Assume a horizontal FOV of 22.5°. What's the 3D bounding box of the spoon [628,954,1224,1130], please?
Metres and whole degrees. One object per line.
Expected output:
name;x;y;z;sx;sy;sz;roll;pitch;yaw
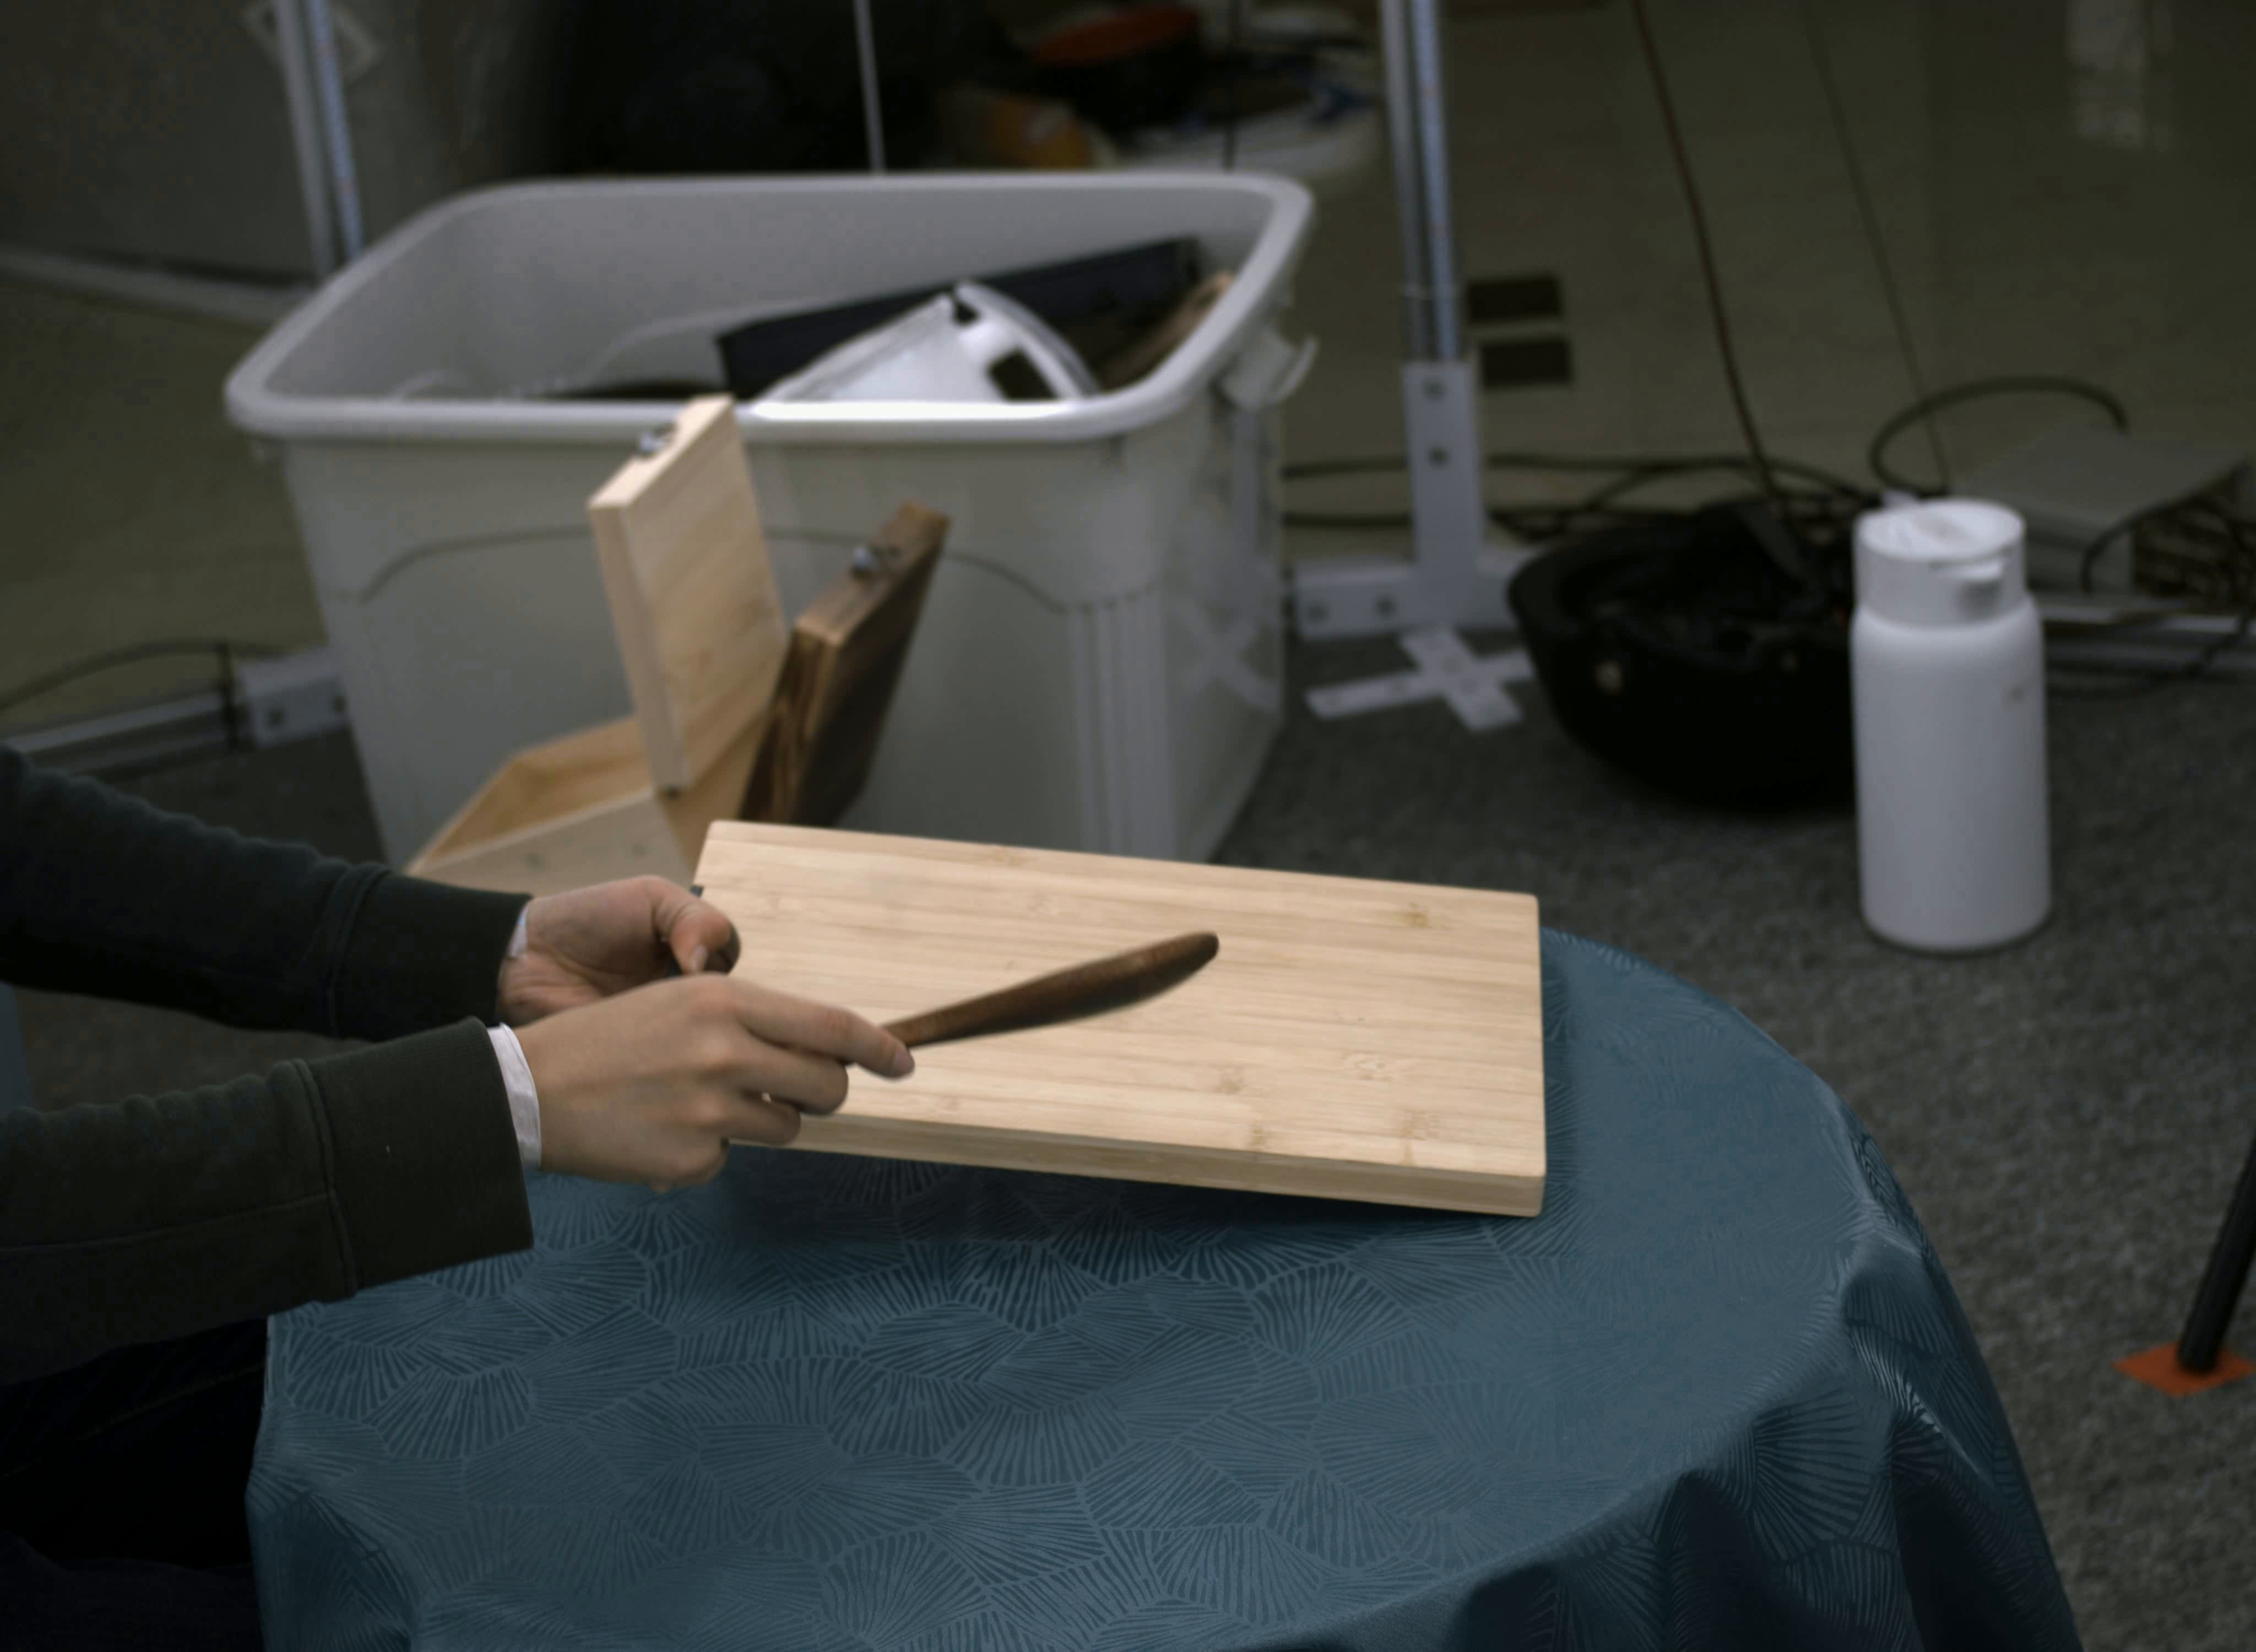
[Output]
spoon;-0.069;0.075;1.966;0.215;0.017;0.075;-13;-3;-12

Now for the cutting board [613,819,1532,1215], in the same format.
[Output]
cutting board;-0.014;0.071;2.205;0.348;0.024;0.247;5;25;0
